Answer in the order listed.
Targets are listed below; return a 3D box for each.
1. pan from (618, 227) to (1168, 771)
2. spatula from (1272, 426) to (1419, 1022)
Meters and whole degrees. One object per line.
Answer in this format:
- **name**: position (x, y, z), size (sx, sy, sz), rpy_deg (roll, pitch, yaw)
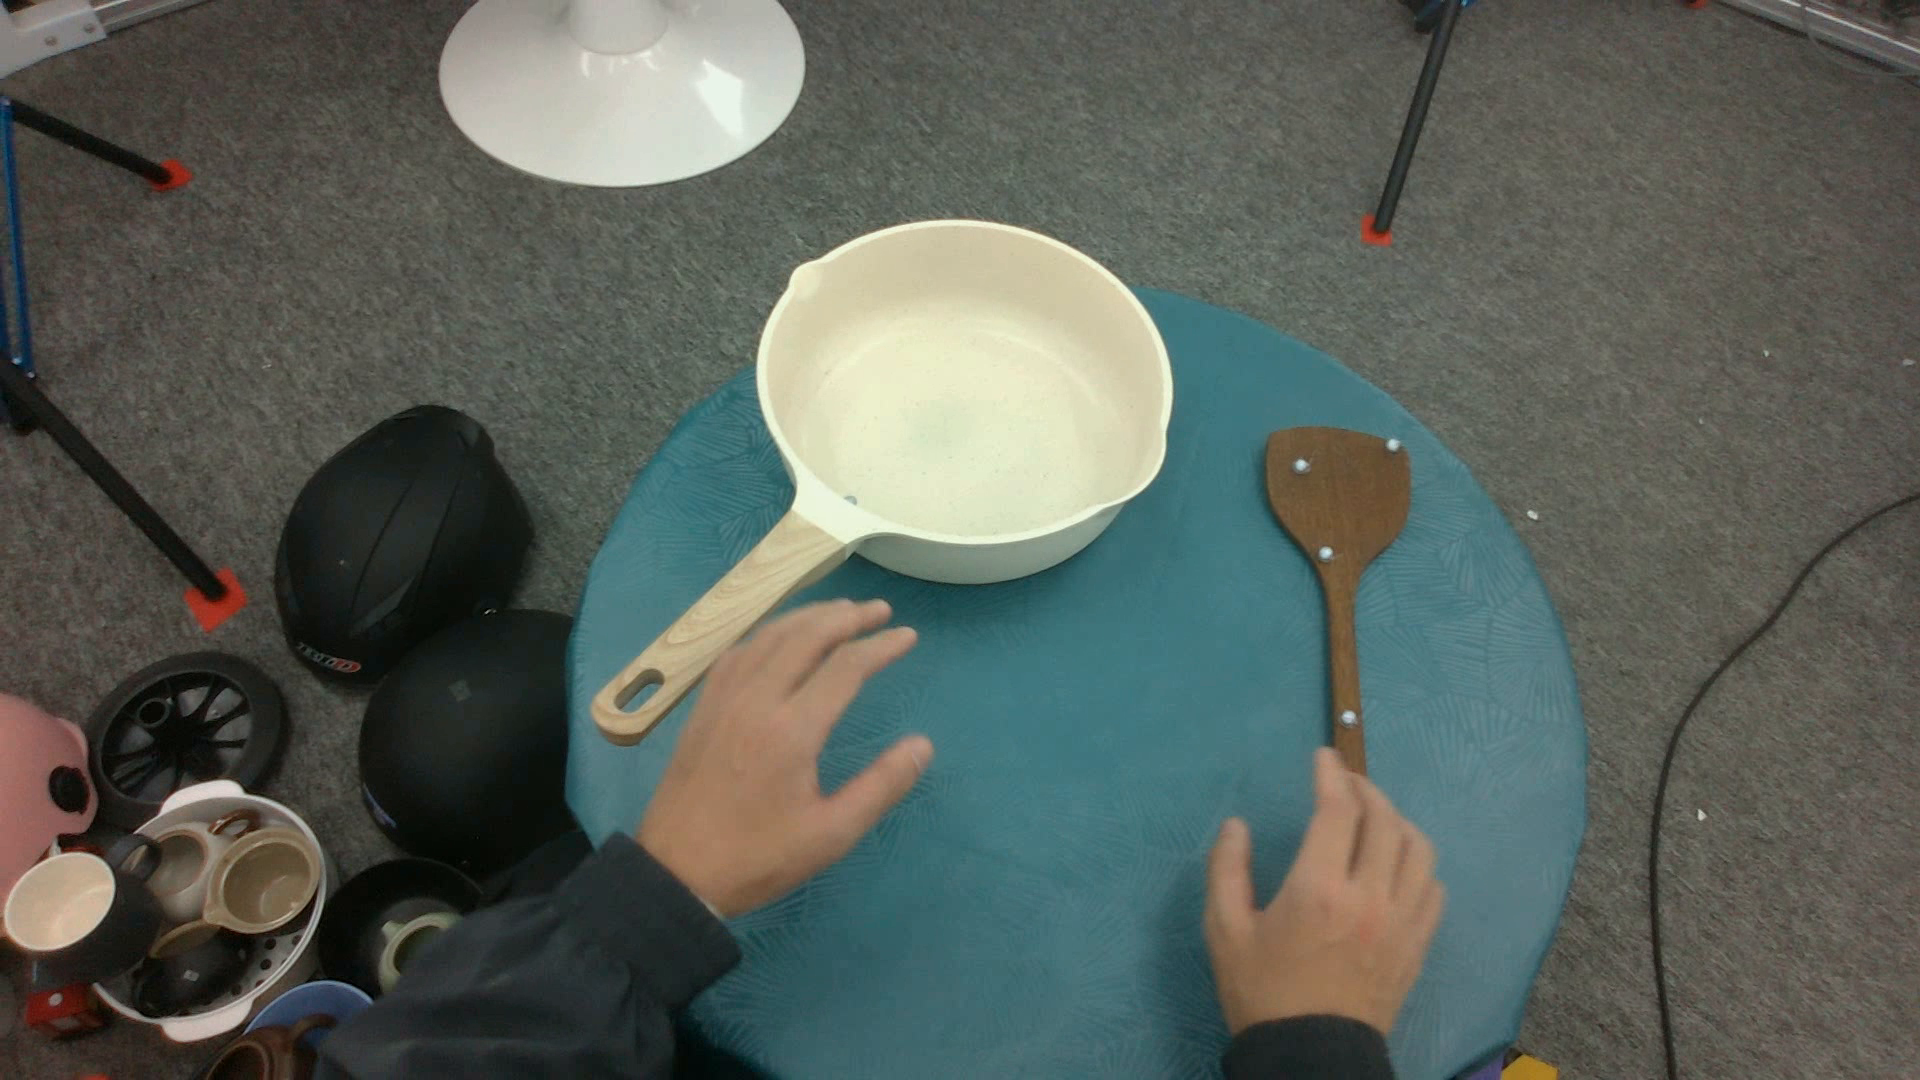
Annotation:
- **pan**: position (-0.049, -0.019, 0.826), size (0.263, 0.101, 0.437), rpy_deg (31, 61, 15)
- **spatula**: position (0.238, 0.087, 0.818), size (0.096, 0.016, 0.387), rpy_deg (5, 57, 2)
